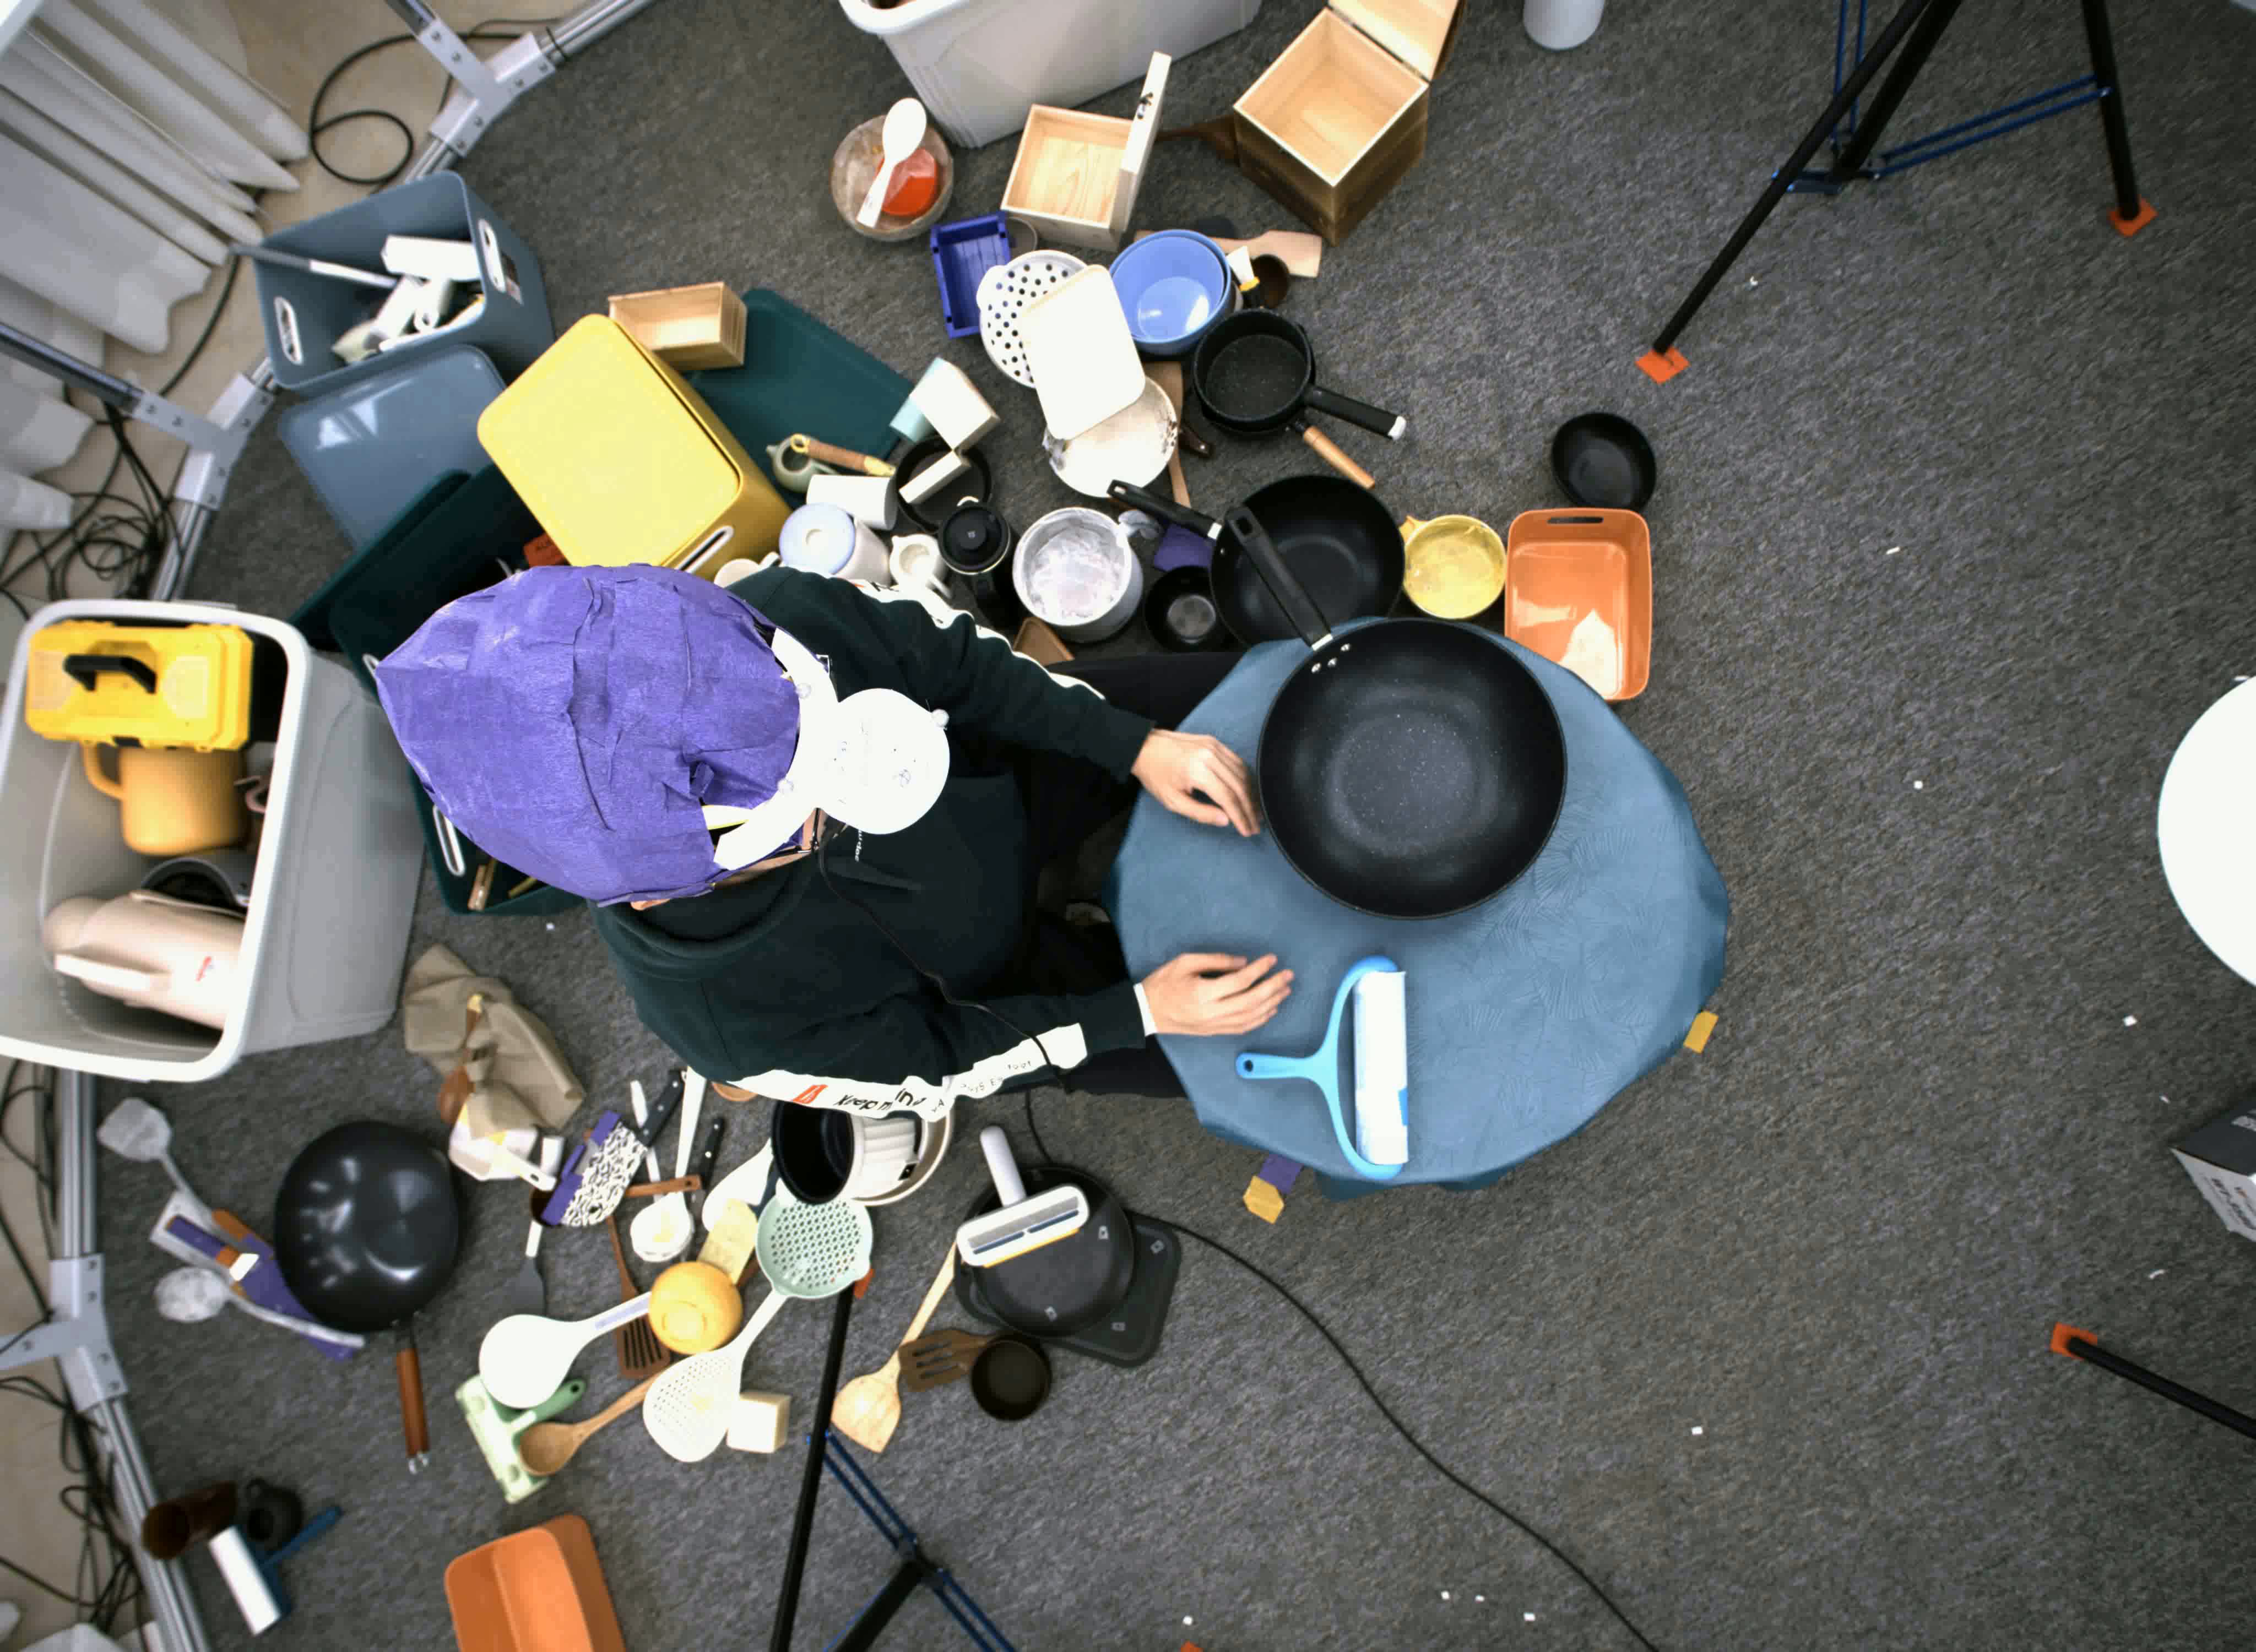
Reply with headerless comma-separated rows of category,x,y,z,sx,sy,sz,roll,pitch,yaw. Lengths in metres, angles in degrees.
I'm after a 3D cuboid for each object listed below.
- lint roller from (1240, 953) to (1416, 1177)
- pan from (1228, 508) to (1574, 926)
lint roller,0.204,0.249,1.430,0.181,0.068,0.228,-5,88,9
pan,0.246,-0.121,1.416,0.311,0.112,0.474,-34,82,5
